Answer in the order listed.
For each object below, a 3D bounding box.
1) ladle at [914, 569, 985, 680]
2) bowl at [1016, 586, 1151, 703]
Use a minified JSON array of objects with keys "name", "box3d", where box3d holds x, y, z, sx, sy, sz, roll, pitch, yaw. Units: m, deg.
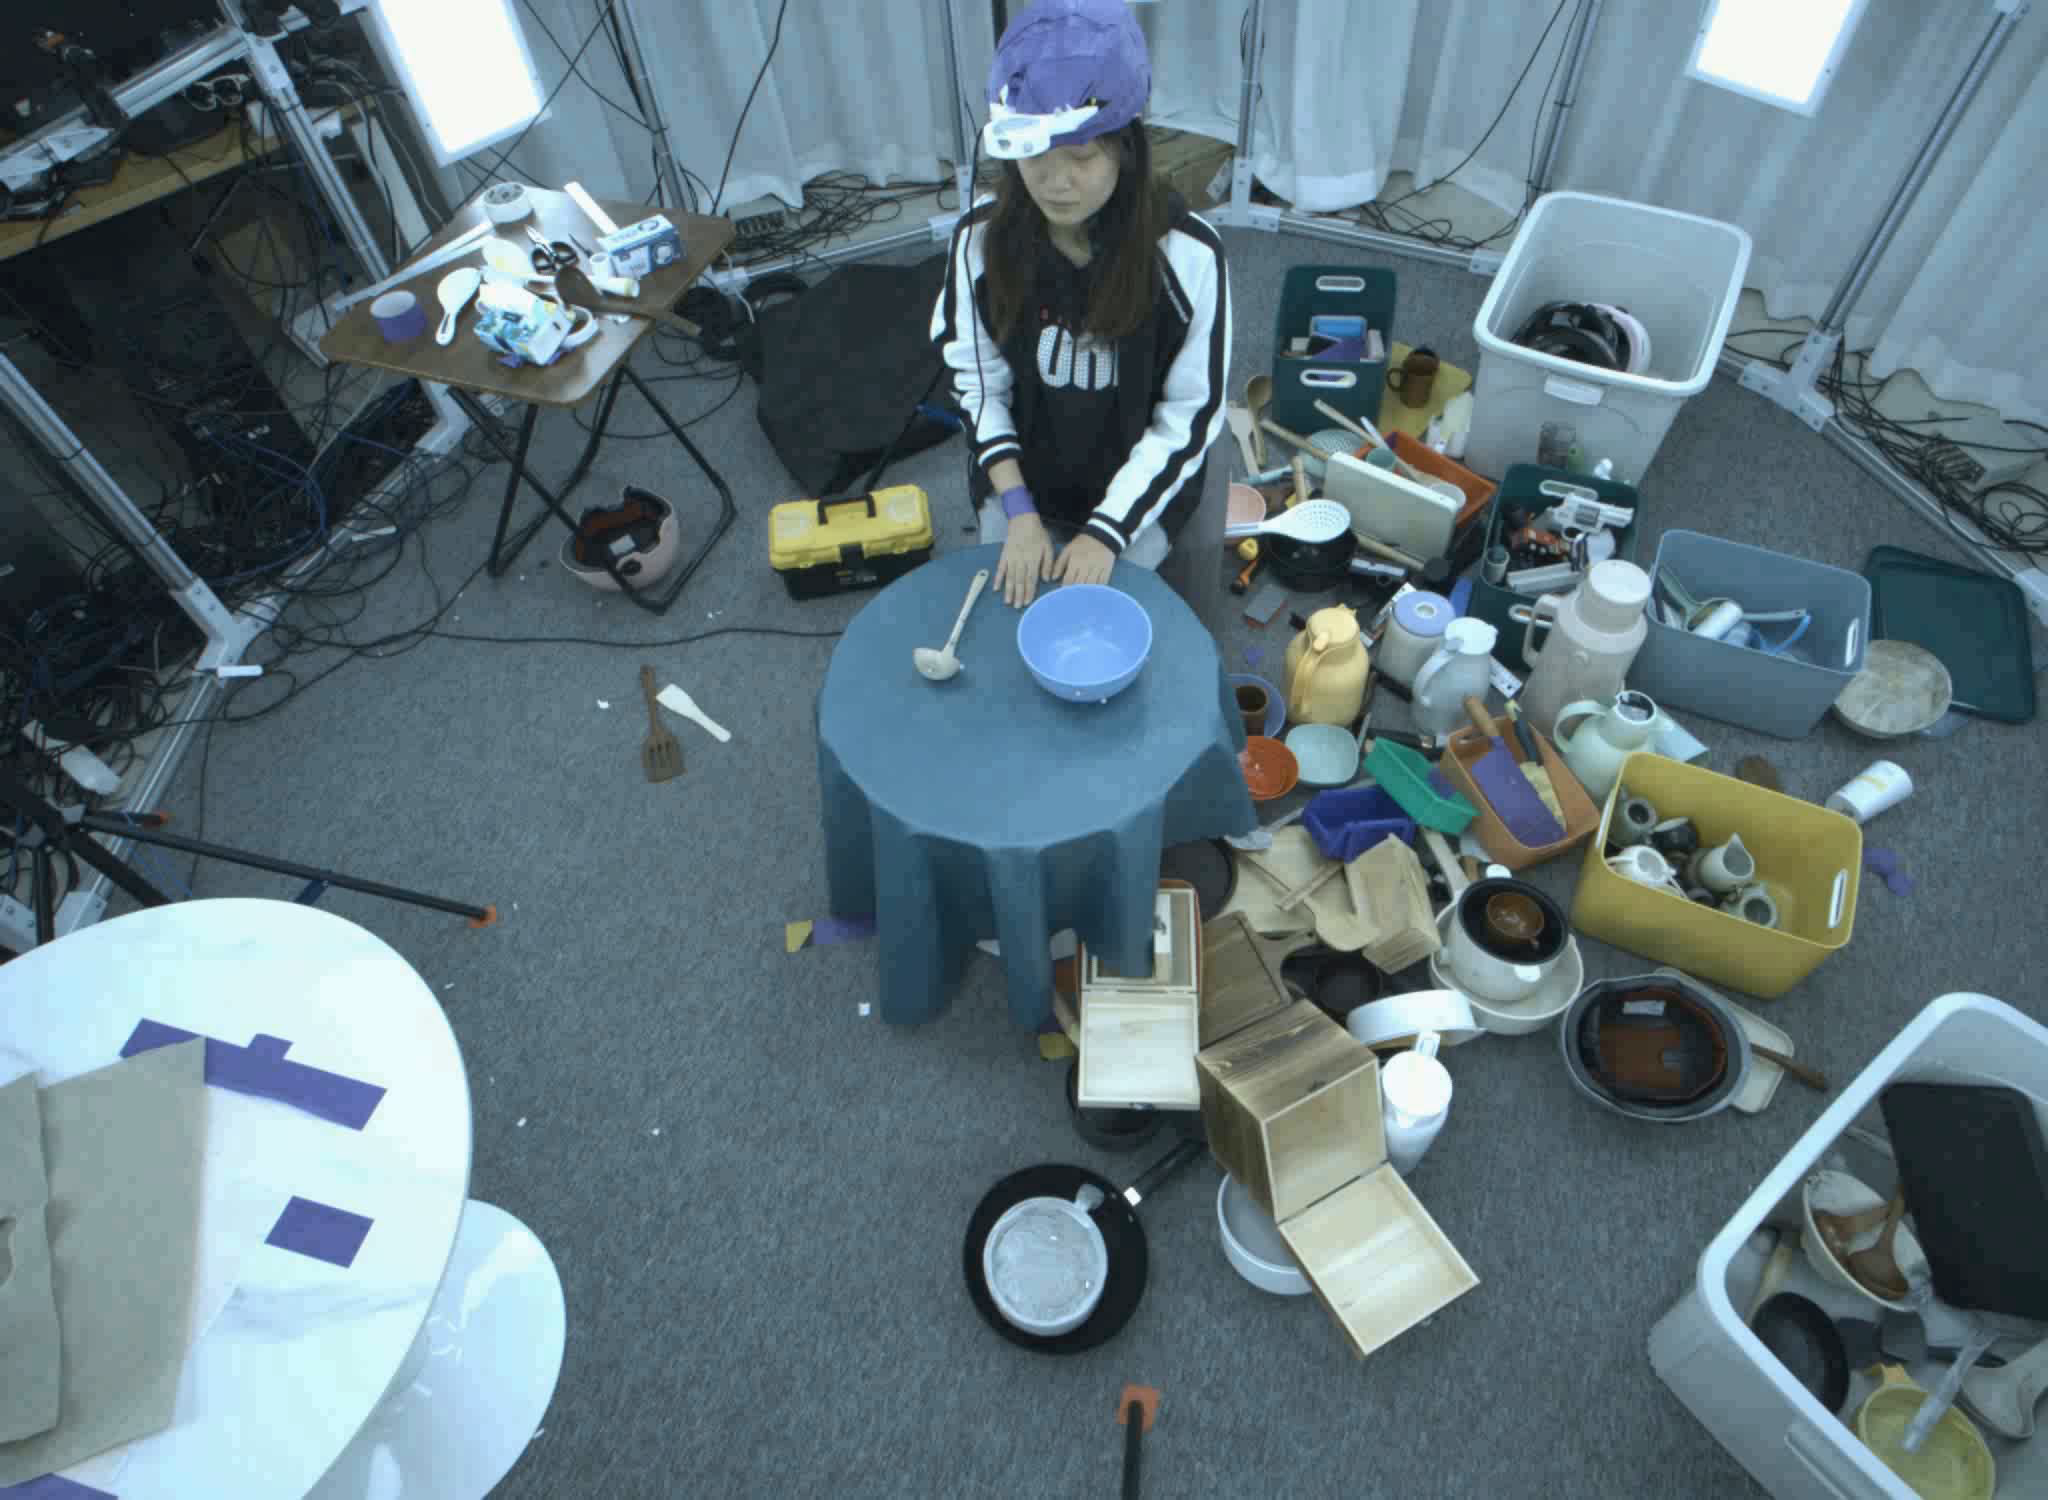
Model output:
[{"name":"ladle","box3d":[-0.105,-0.216,1.899,0.071,0.073,0.253,11,56,10]},{"name":"bowl","box3d":[0.090,-0.142,1.831,0.196,0.096,0.194,-1,54,3]}]
